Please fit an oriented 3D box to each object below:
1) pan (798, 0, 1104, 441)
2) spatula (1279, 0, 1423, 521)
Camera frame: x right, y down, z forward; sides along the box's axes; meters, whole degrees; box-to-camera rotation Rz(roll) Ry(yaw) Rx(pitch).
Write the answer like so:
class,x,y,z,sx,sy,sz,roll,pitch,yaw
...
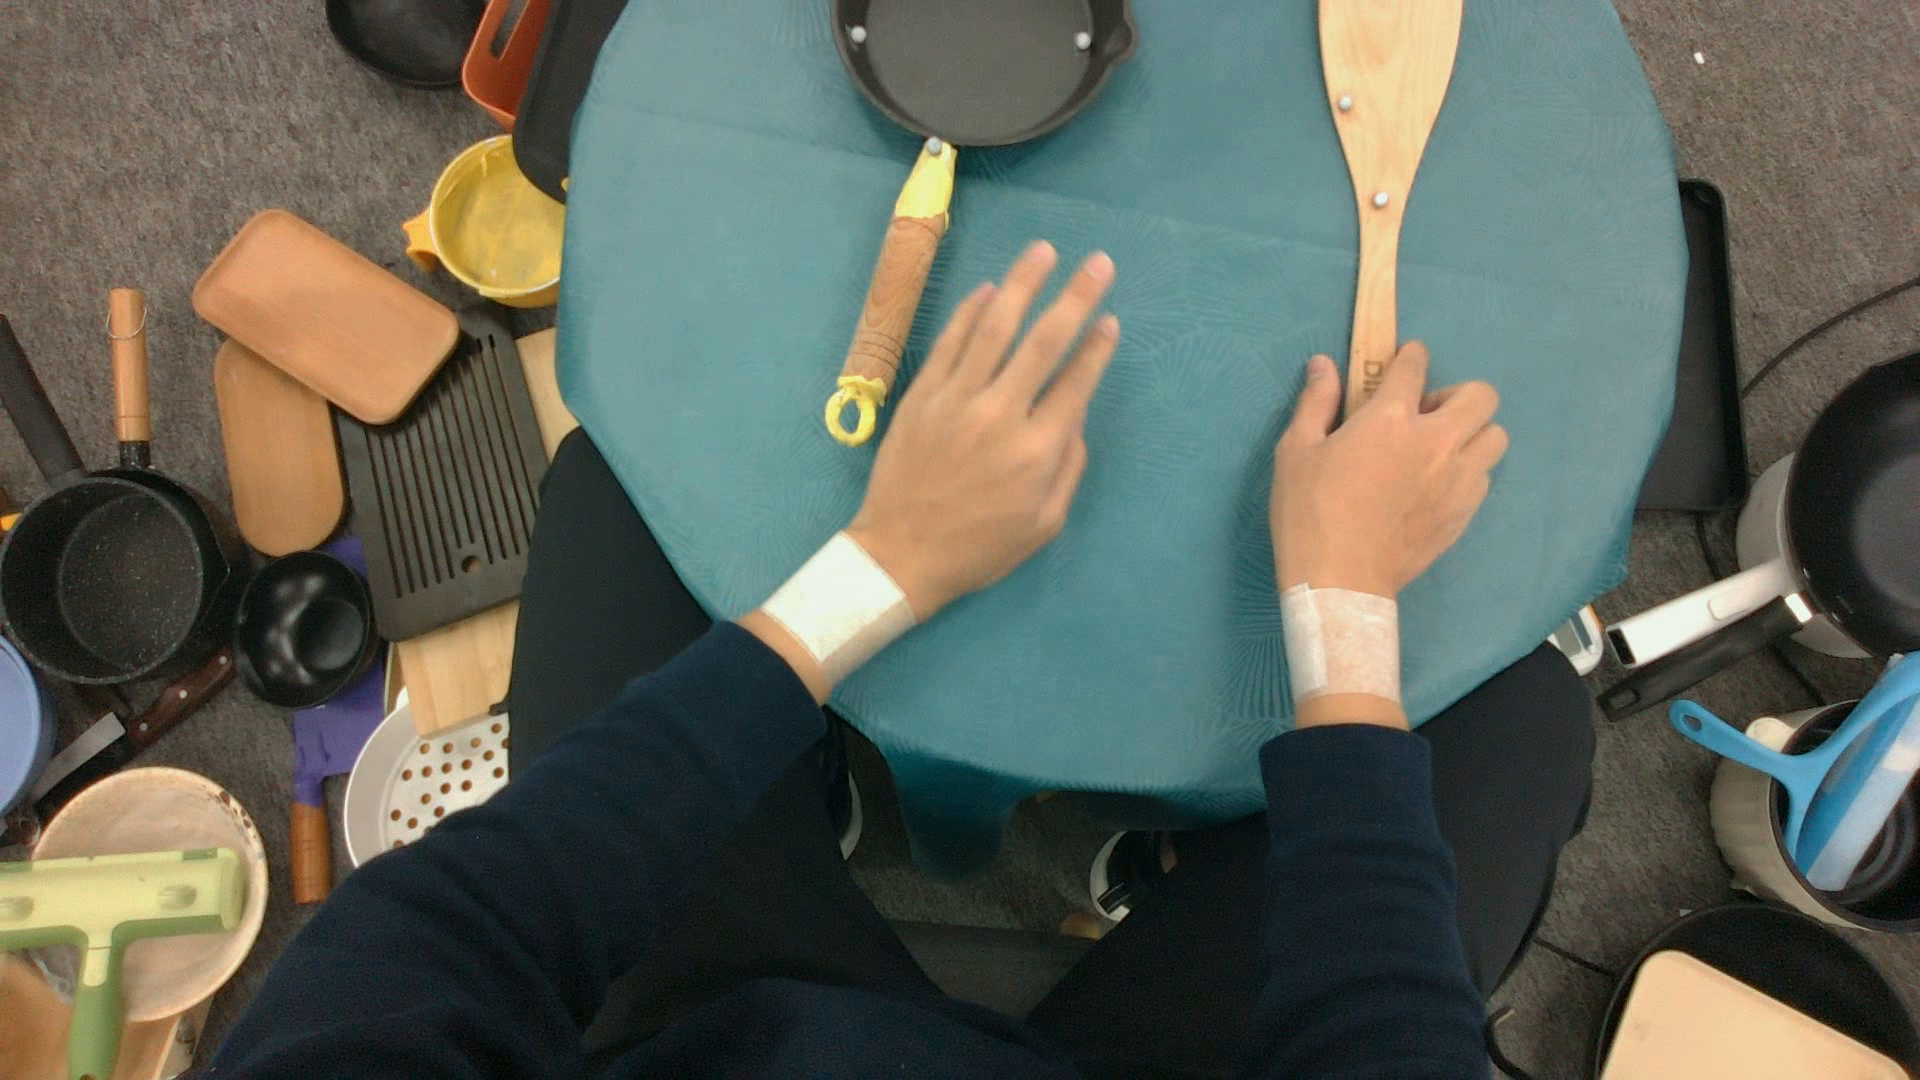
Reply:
class,x,y,z,sx,sy,sz,roll,pitch,yaw
pan,-0.028,-0.202,0.717,0.169,0.049,0.325,15,78,2
spatula,0.207,-0.171,0.732,0.080,0.016,0.328,3,79,1
